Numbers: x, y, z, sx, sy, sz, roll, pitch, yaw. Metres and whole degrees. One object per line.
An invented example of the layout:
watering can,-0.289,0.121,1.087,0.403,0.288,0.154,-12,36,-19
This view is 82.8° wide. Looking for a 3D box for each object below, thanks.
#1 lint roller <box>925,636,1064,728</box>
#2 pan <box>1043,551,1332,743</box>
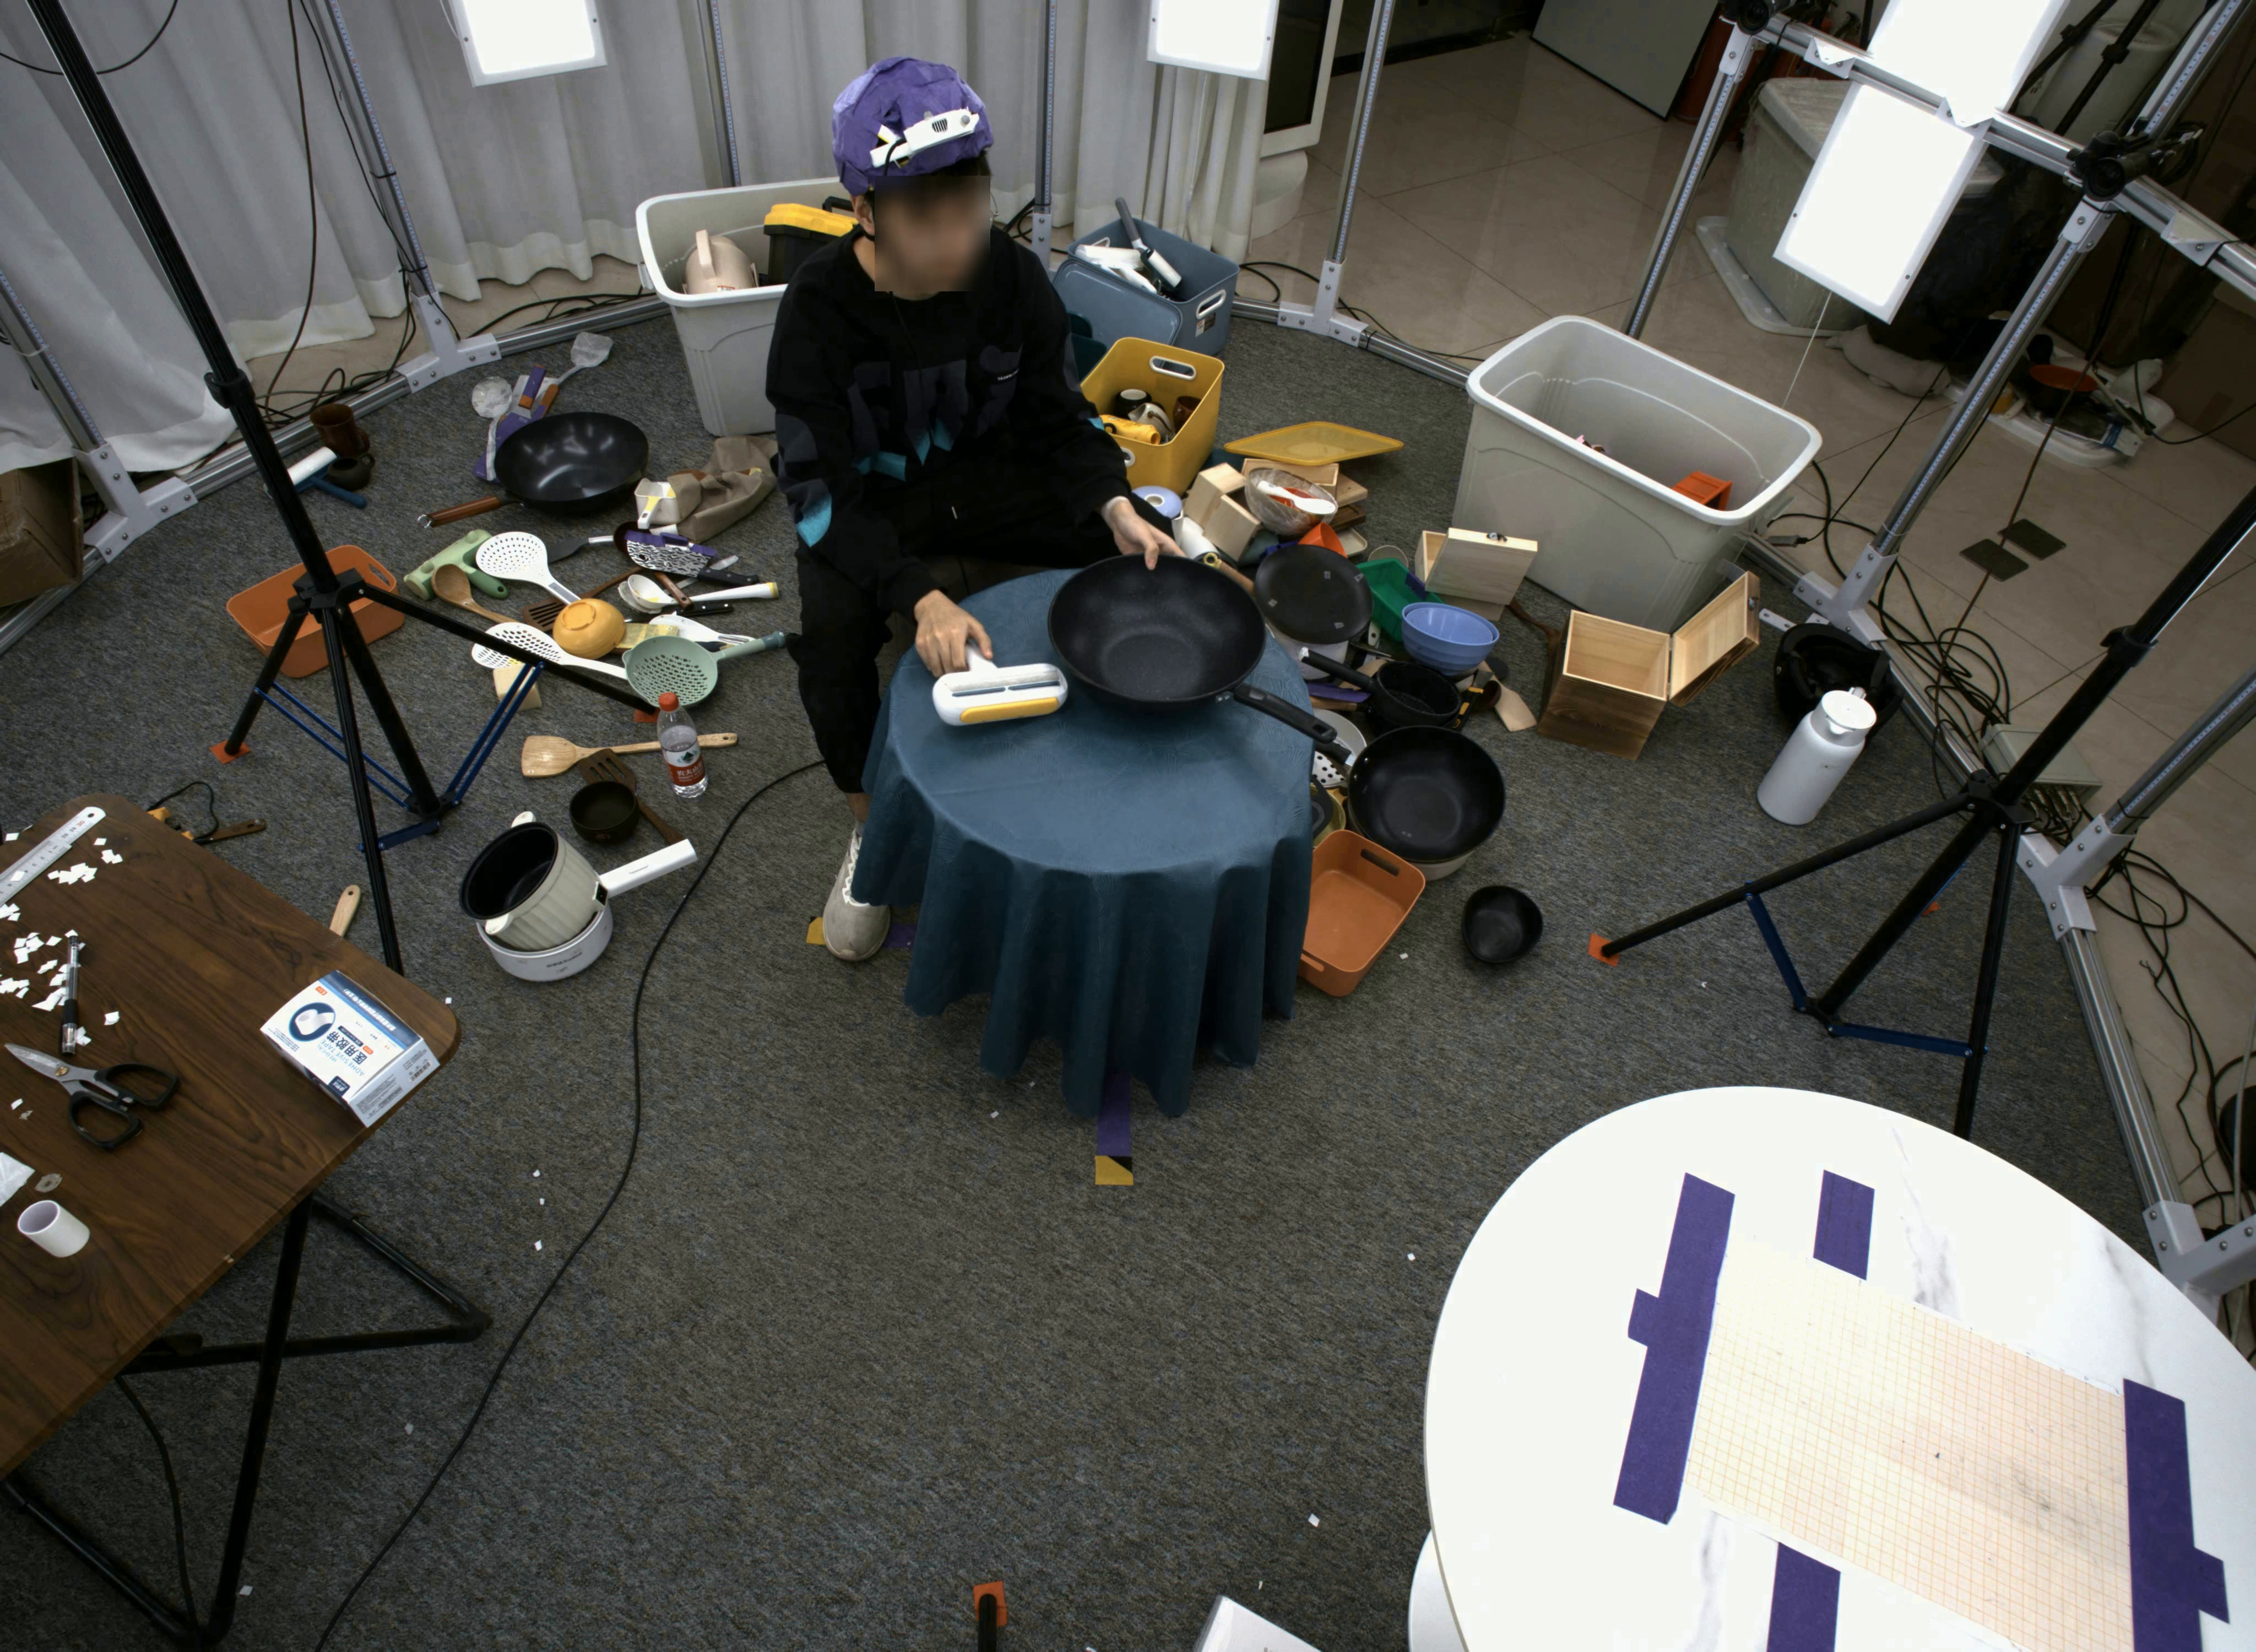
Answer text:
lint roller,-0.204,-0.216,1.798,0.193,0.072,0.197,-10,48,-22
pan,0.092,-0.221,1.796,0.313,0.109,0.484,-35,59,-27
